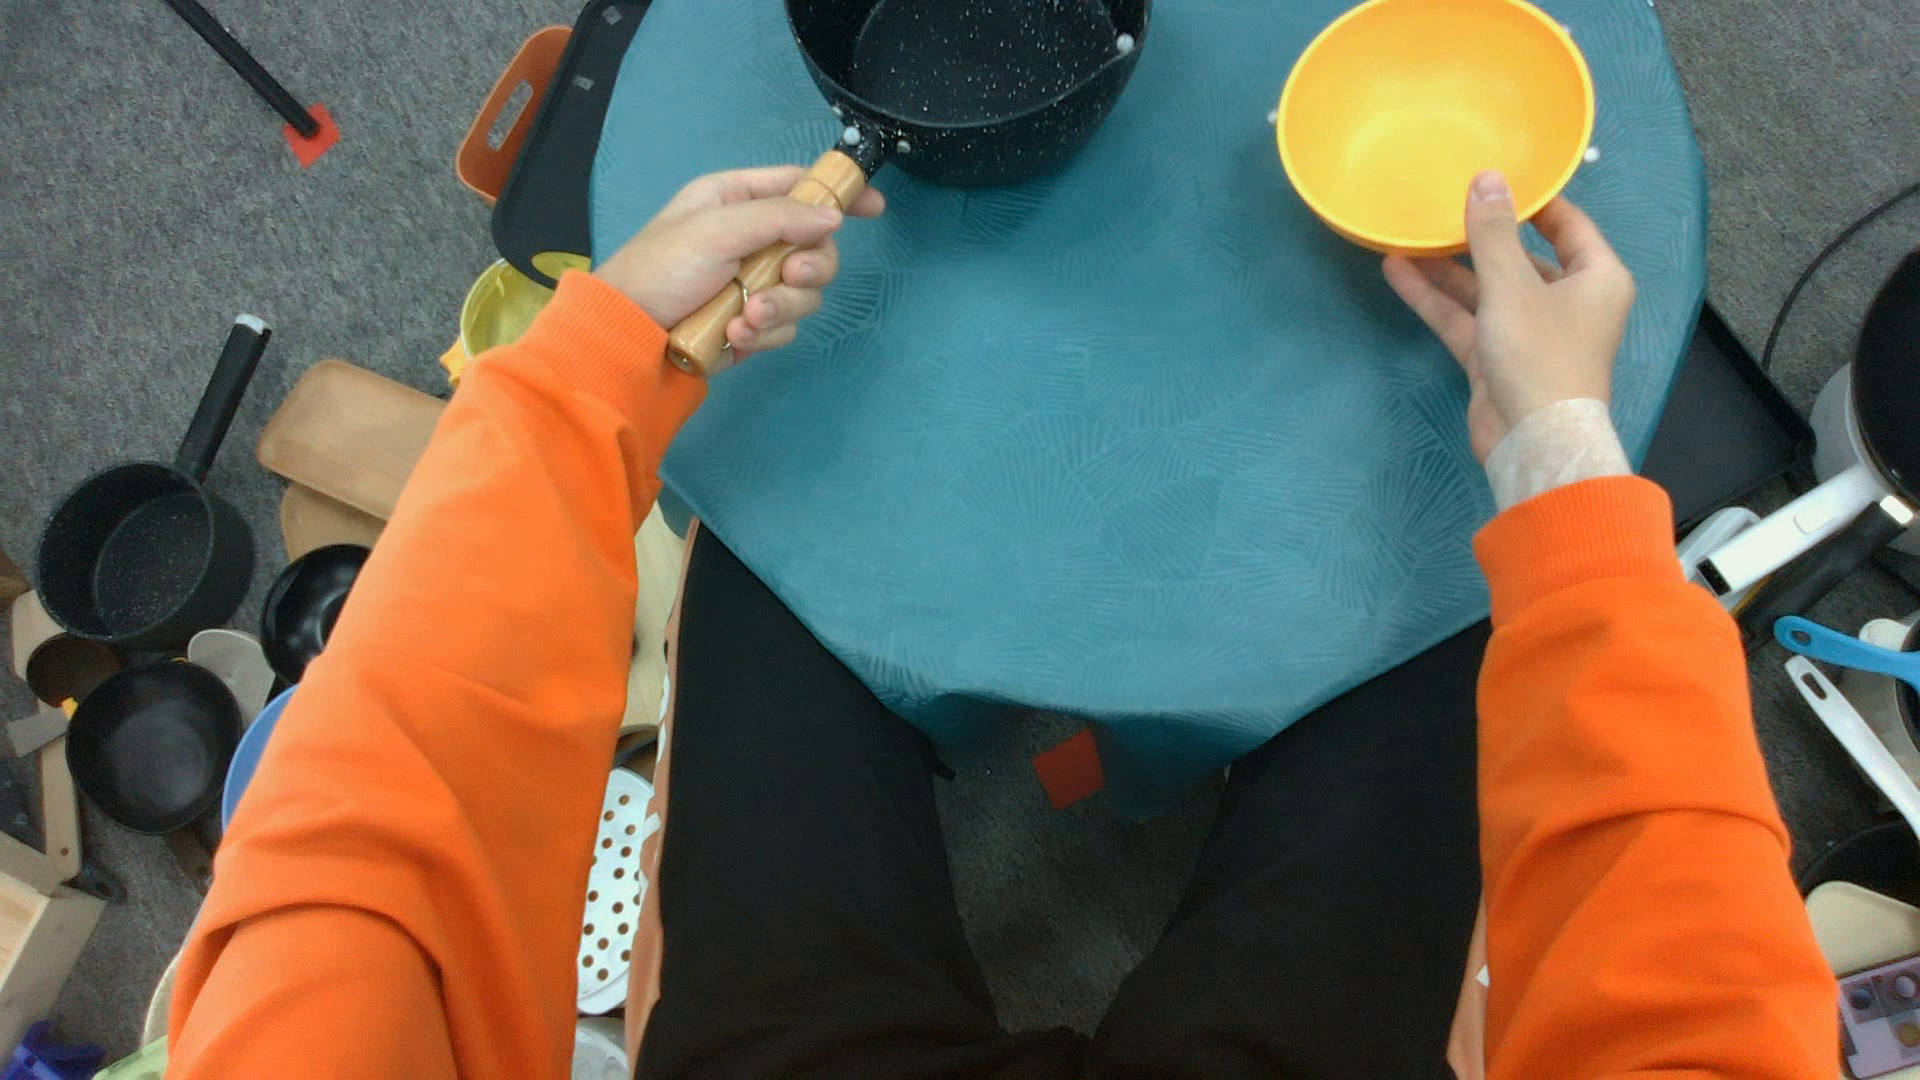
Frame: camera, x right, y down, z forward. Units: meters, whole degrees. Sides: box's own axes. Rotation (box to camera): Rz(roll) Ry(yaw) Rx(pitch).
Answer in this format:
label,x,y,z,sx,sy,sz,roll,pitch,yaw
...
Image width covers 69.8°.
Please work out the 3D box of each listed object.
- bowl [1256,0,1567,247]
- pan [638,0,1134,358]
label,x,y,z,sx,sy,sz,roll,pitch,yaw
bowl,0.225,-0.203,0.697,0.145,0.060,0.145,-5,71,14
pan,-0.042,-0.214,0.694,0.207,0.108,0.343,28,77,12
